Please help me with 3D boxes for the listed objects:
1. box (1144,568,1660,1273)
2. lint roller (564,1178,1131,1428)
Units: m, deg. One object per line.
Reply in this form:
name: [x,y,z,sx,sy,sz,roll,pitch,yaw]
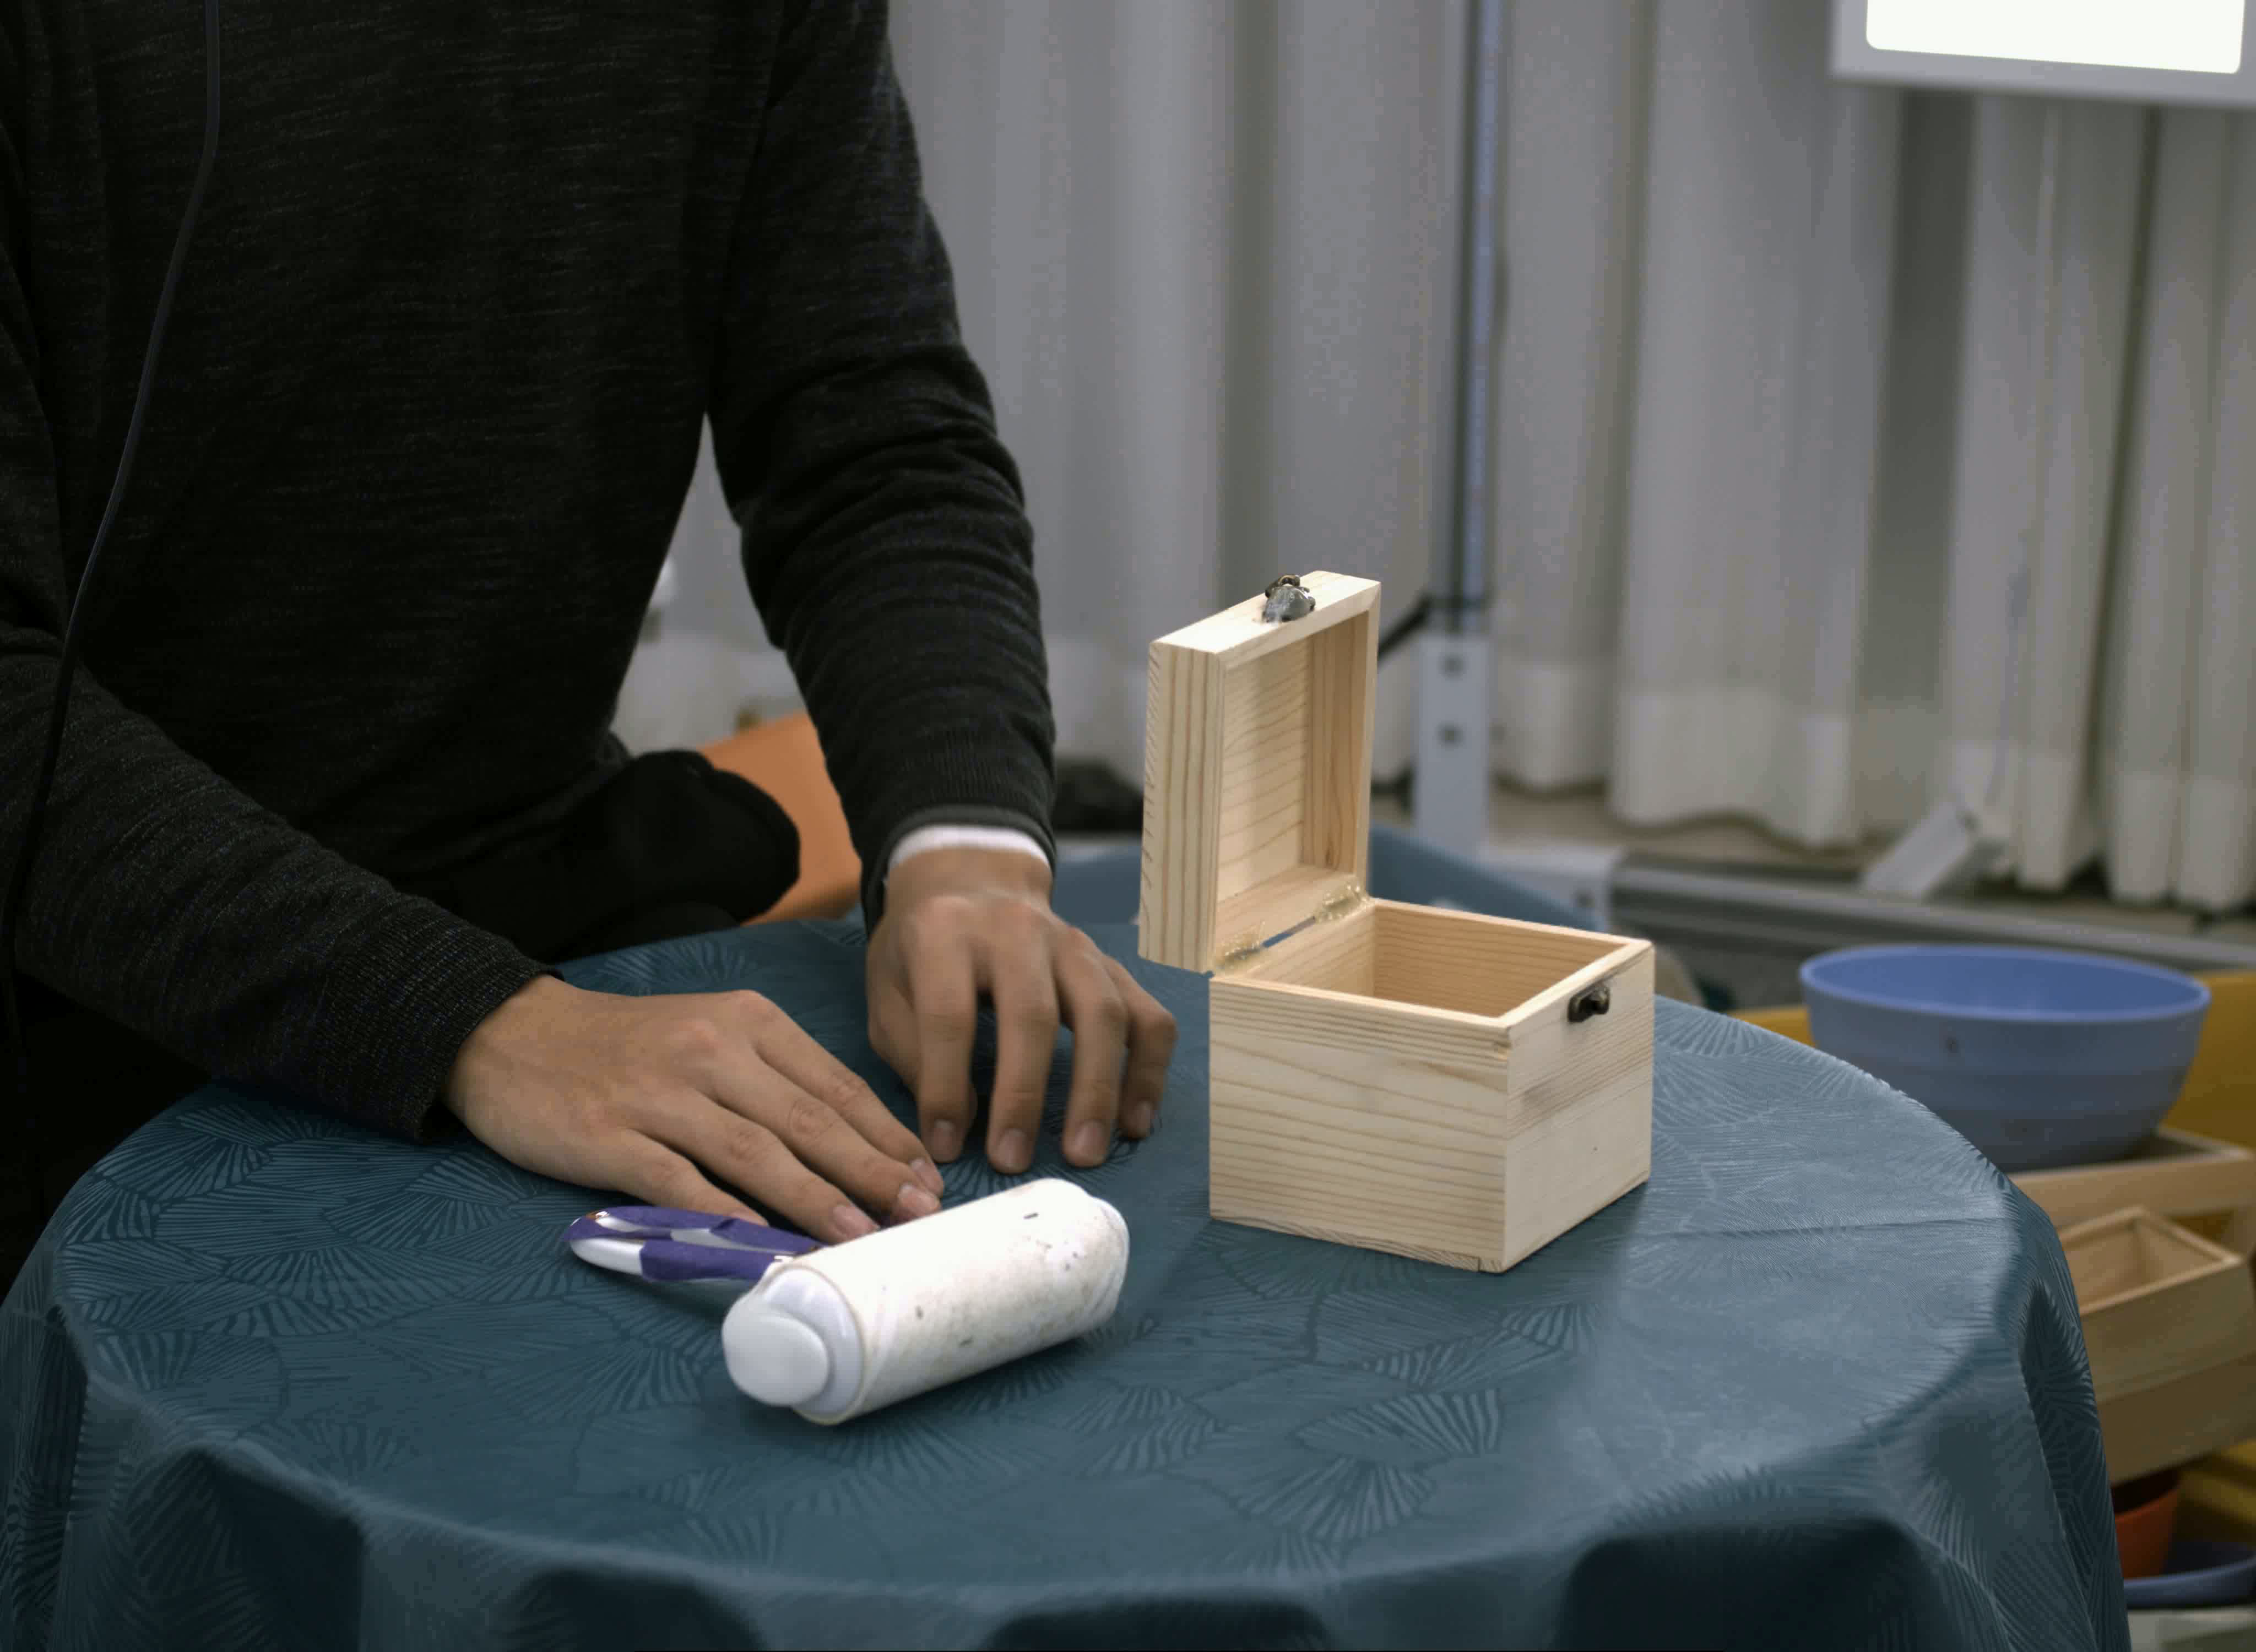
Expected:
box: [0.086,0.025,1.594,0.132,0.186,0.103,9,18,29]
lint roller: [-0.098,0.118,1.507,0.133,0.050,0.178,-16,24,-42]
